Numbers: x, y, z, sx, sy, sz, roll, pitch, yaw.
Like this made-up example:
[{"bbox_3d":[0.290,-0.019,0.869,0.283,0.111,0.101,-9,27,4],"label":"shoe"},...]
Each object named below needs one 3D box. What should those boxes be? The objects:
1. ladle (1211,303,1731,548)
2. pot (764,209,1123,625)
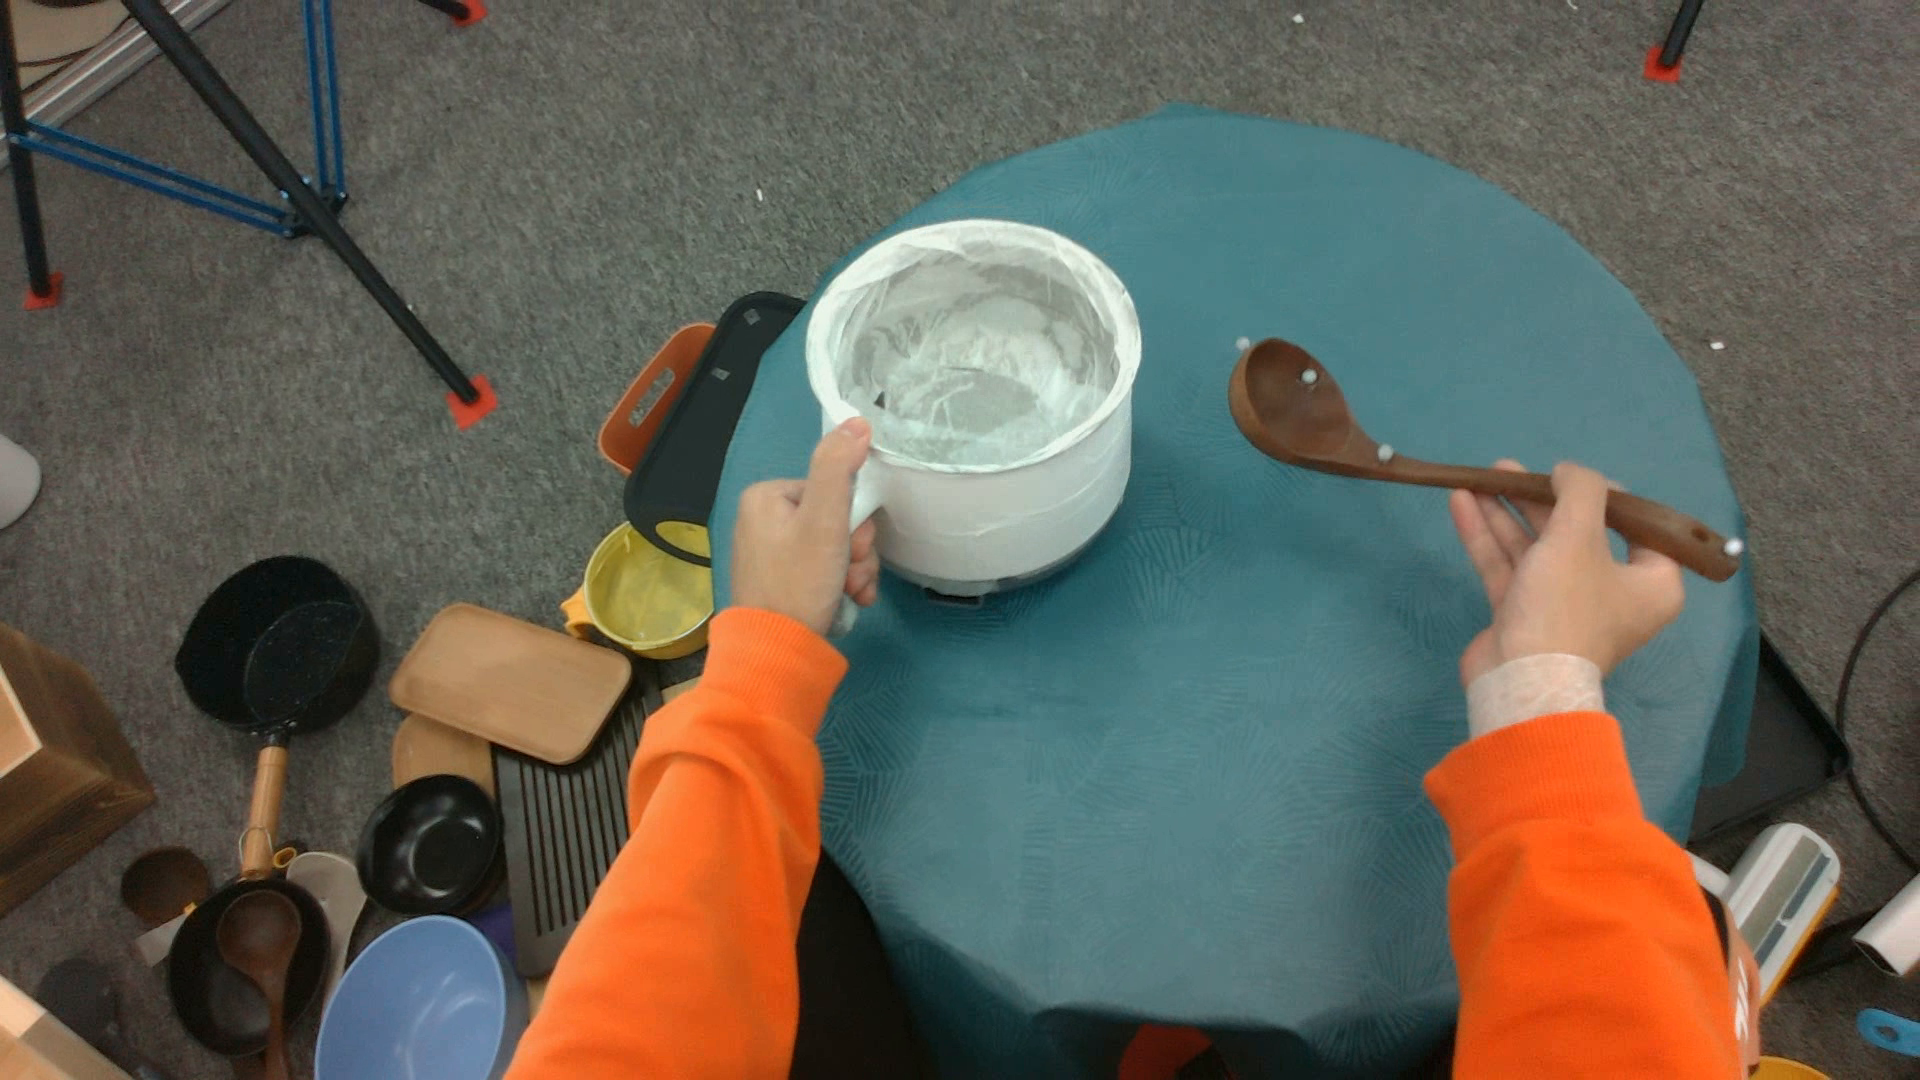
[{"bbox_3d":[0.249,-0.059,0.689,0.260,0.065,0.077,20,53,28],"label":"ladle"},{"bbox_3d":[-0.019,-0.058,0.755,0.179,0.136,0.234,32,62,23],"label":"pot"}]
